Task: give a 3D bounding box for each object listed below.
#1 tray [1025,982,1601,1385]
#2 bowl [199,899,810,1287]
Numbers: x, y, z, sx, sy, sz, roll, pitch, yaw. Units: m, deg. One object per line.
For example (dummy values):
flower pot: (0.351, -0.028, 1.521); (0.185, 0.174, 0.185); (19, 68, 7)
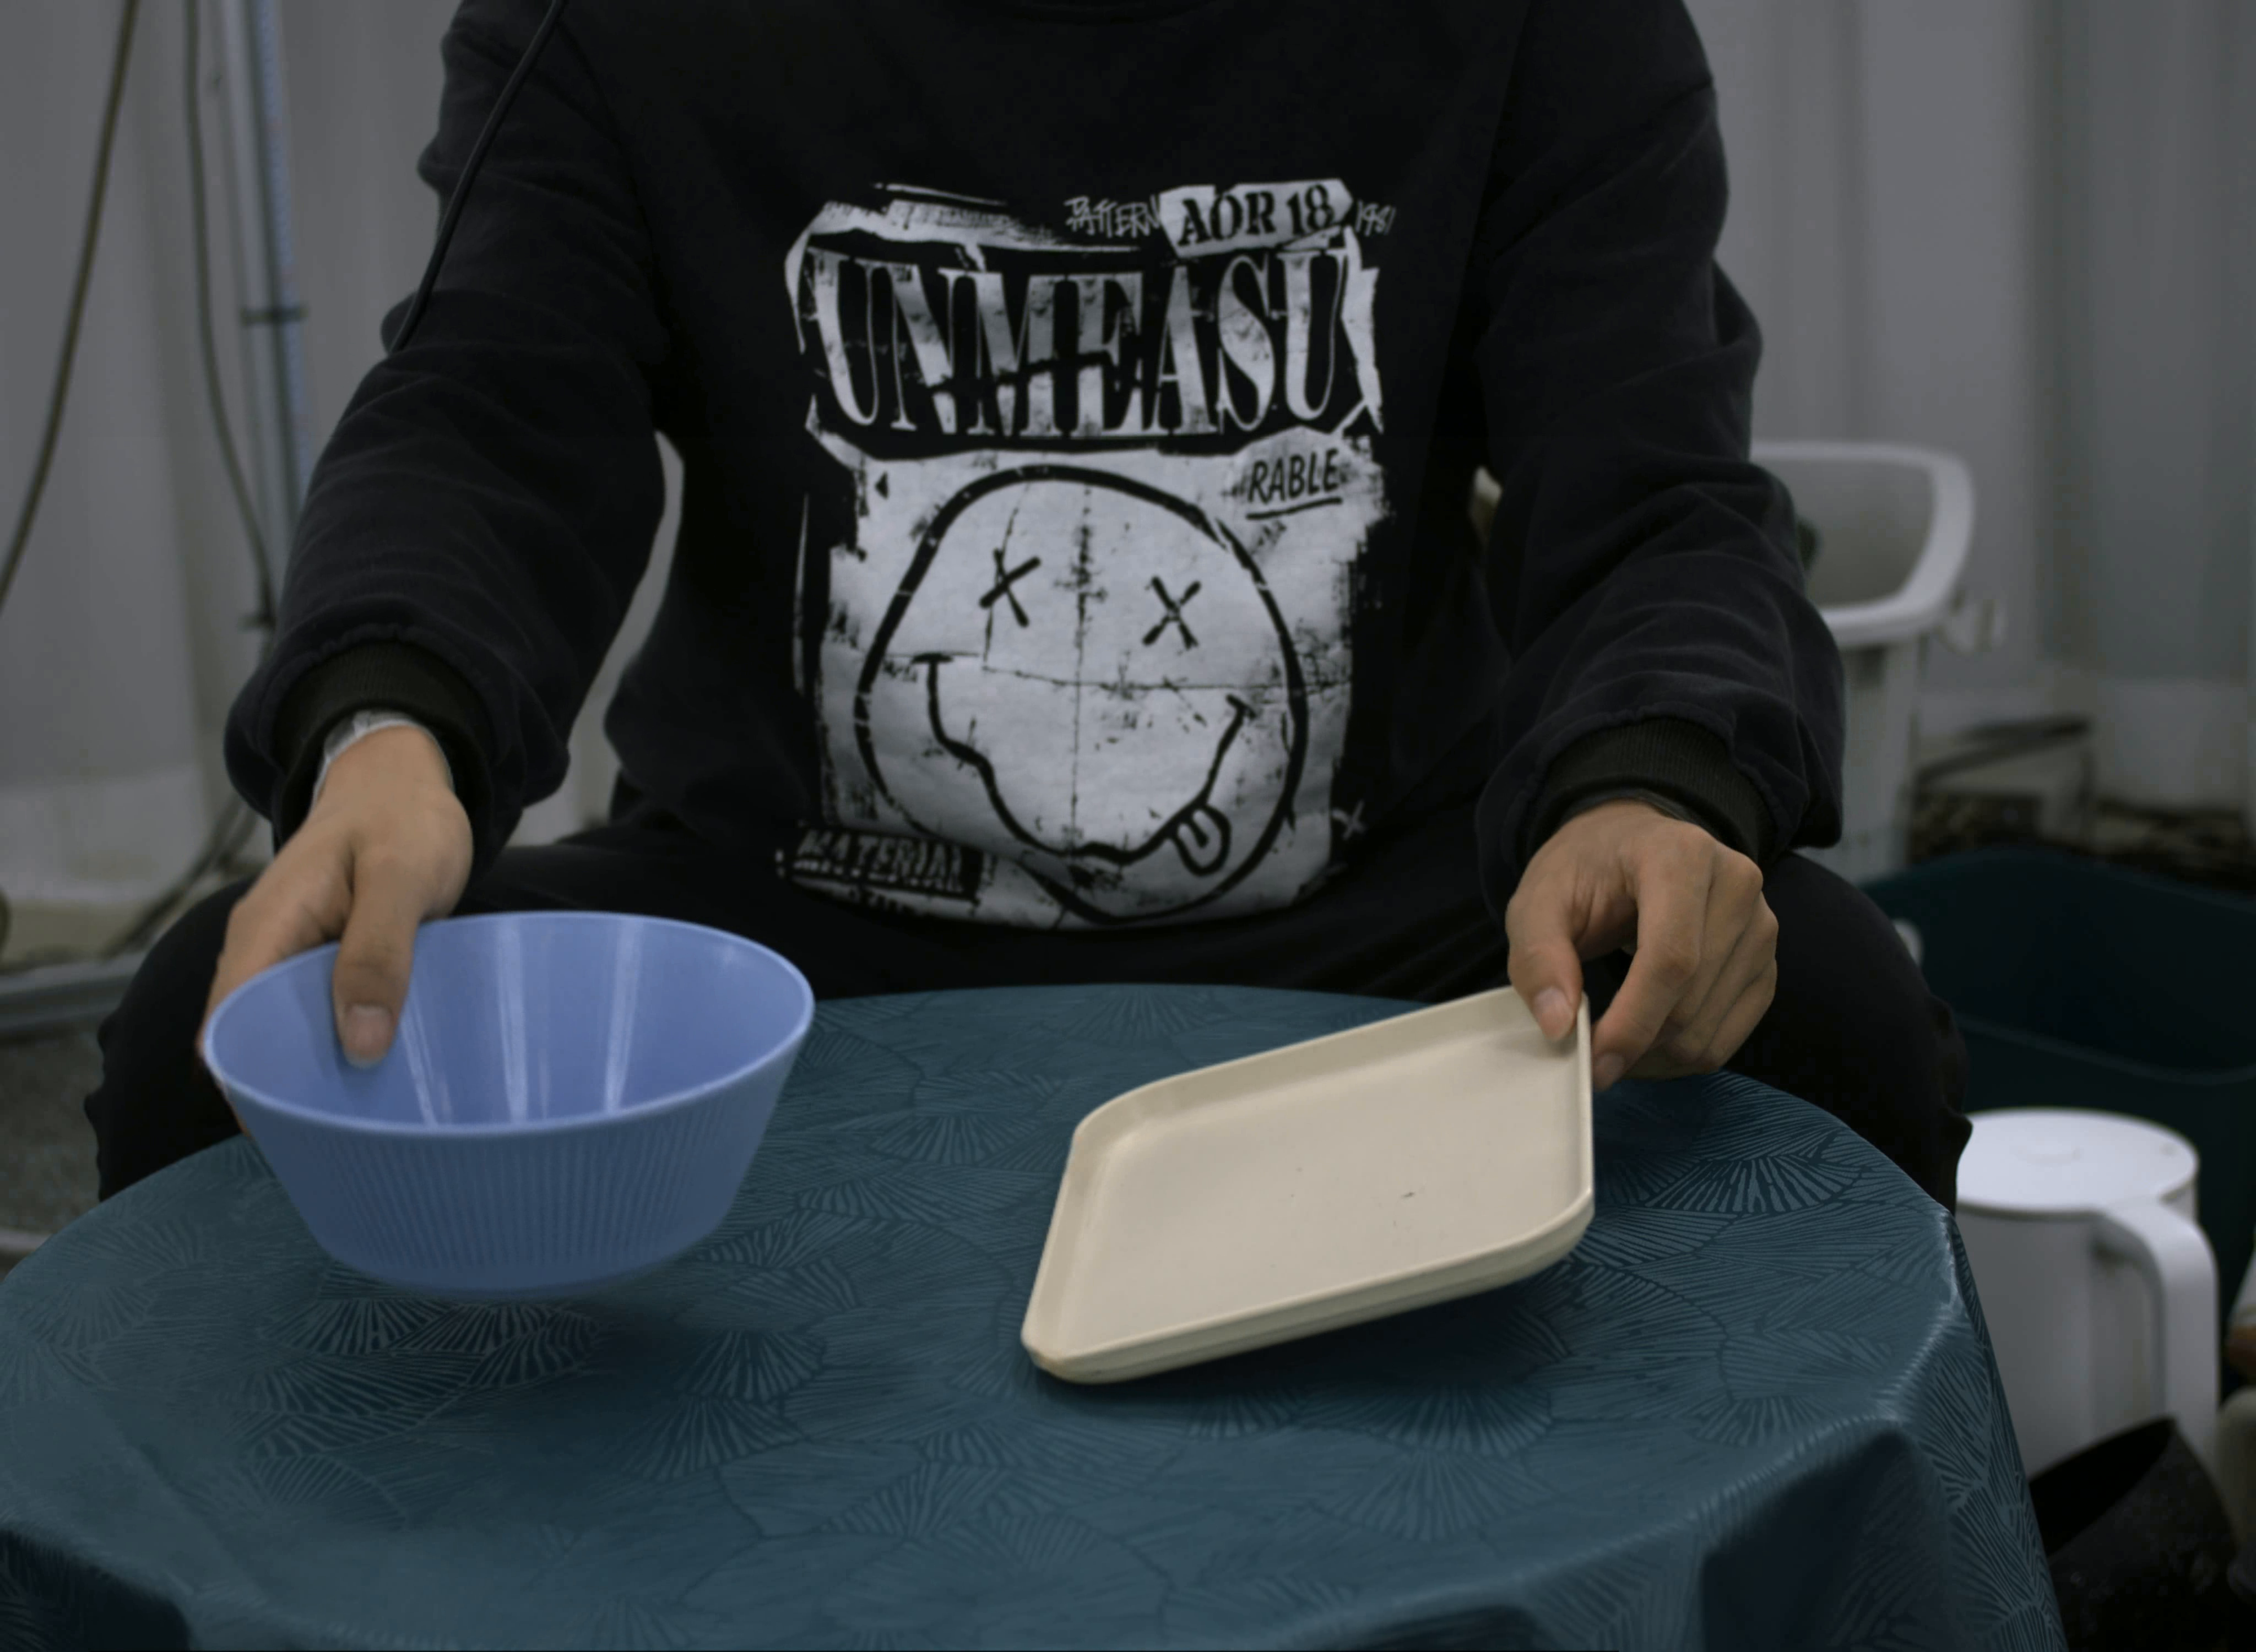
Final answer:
tray: (0.059, 0.106, 1.635); (0.171, 0.017, 0.241); (-14, 14, 8)
bowl: (-0.179, 0.081, 1.586); (0.175, 0.070, 0.177); (-1, 19, 0)
